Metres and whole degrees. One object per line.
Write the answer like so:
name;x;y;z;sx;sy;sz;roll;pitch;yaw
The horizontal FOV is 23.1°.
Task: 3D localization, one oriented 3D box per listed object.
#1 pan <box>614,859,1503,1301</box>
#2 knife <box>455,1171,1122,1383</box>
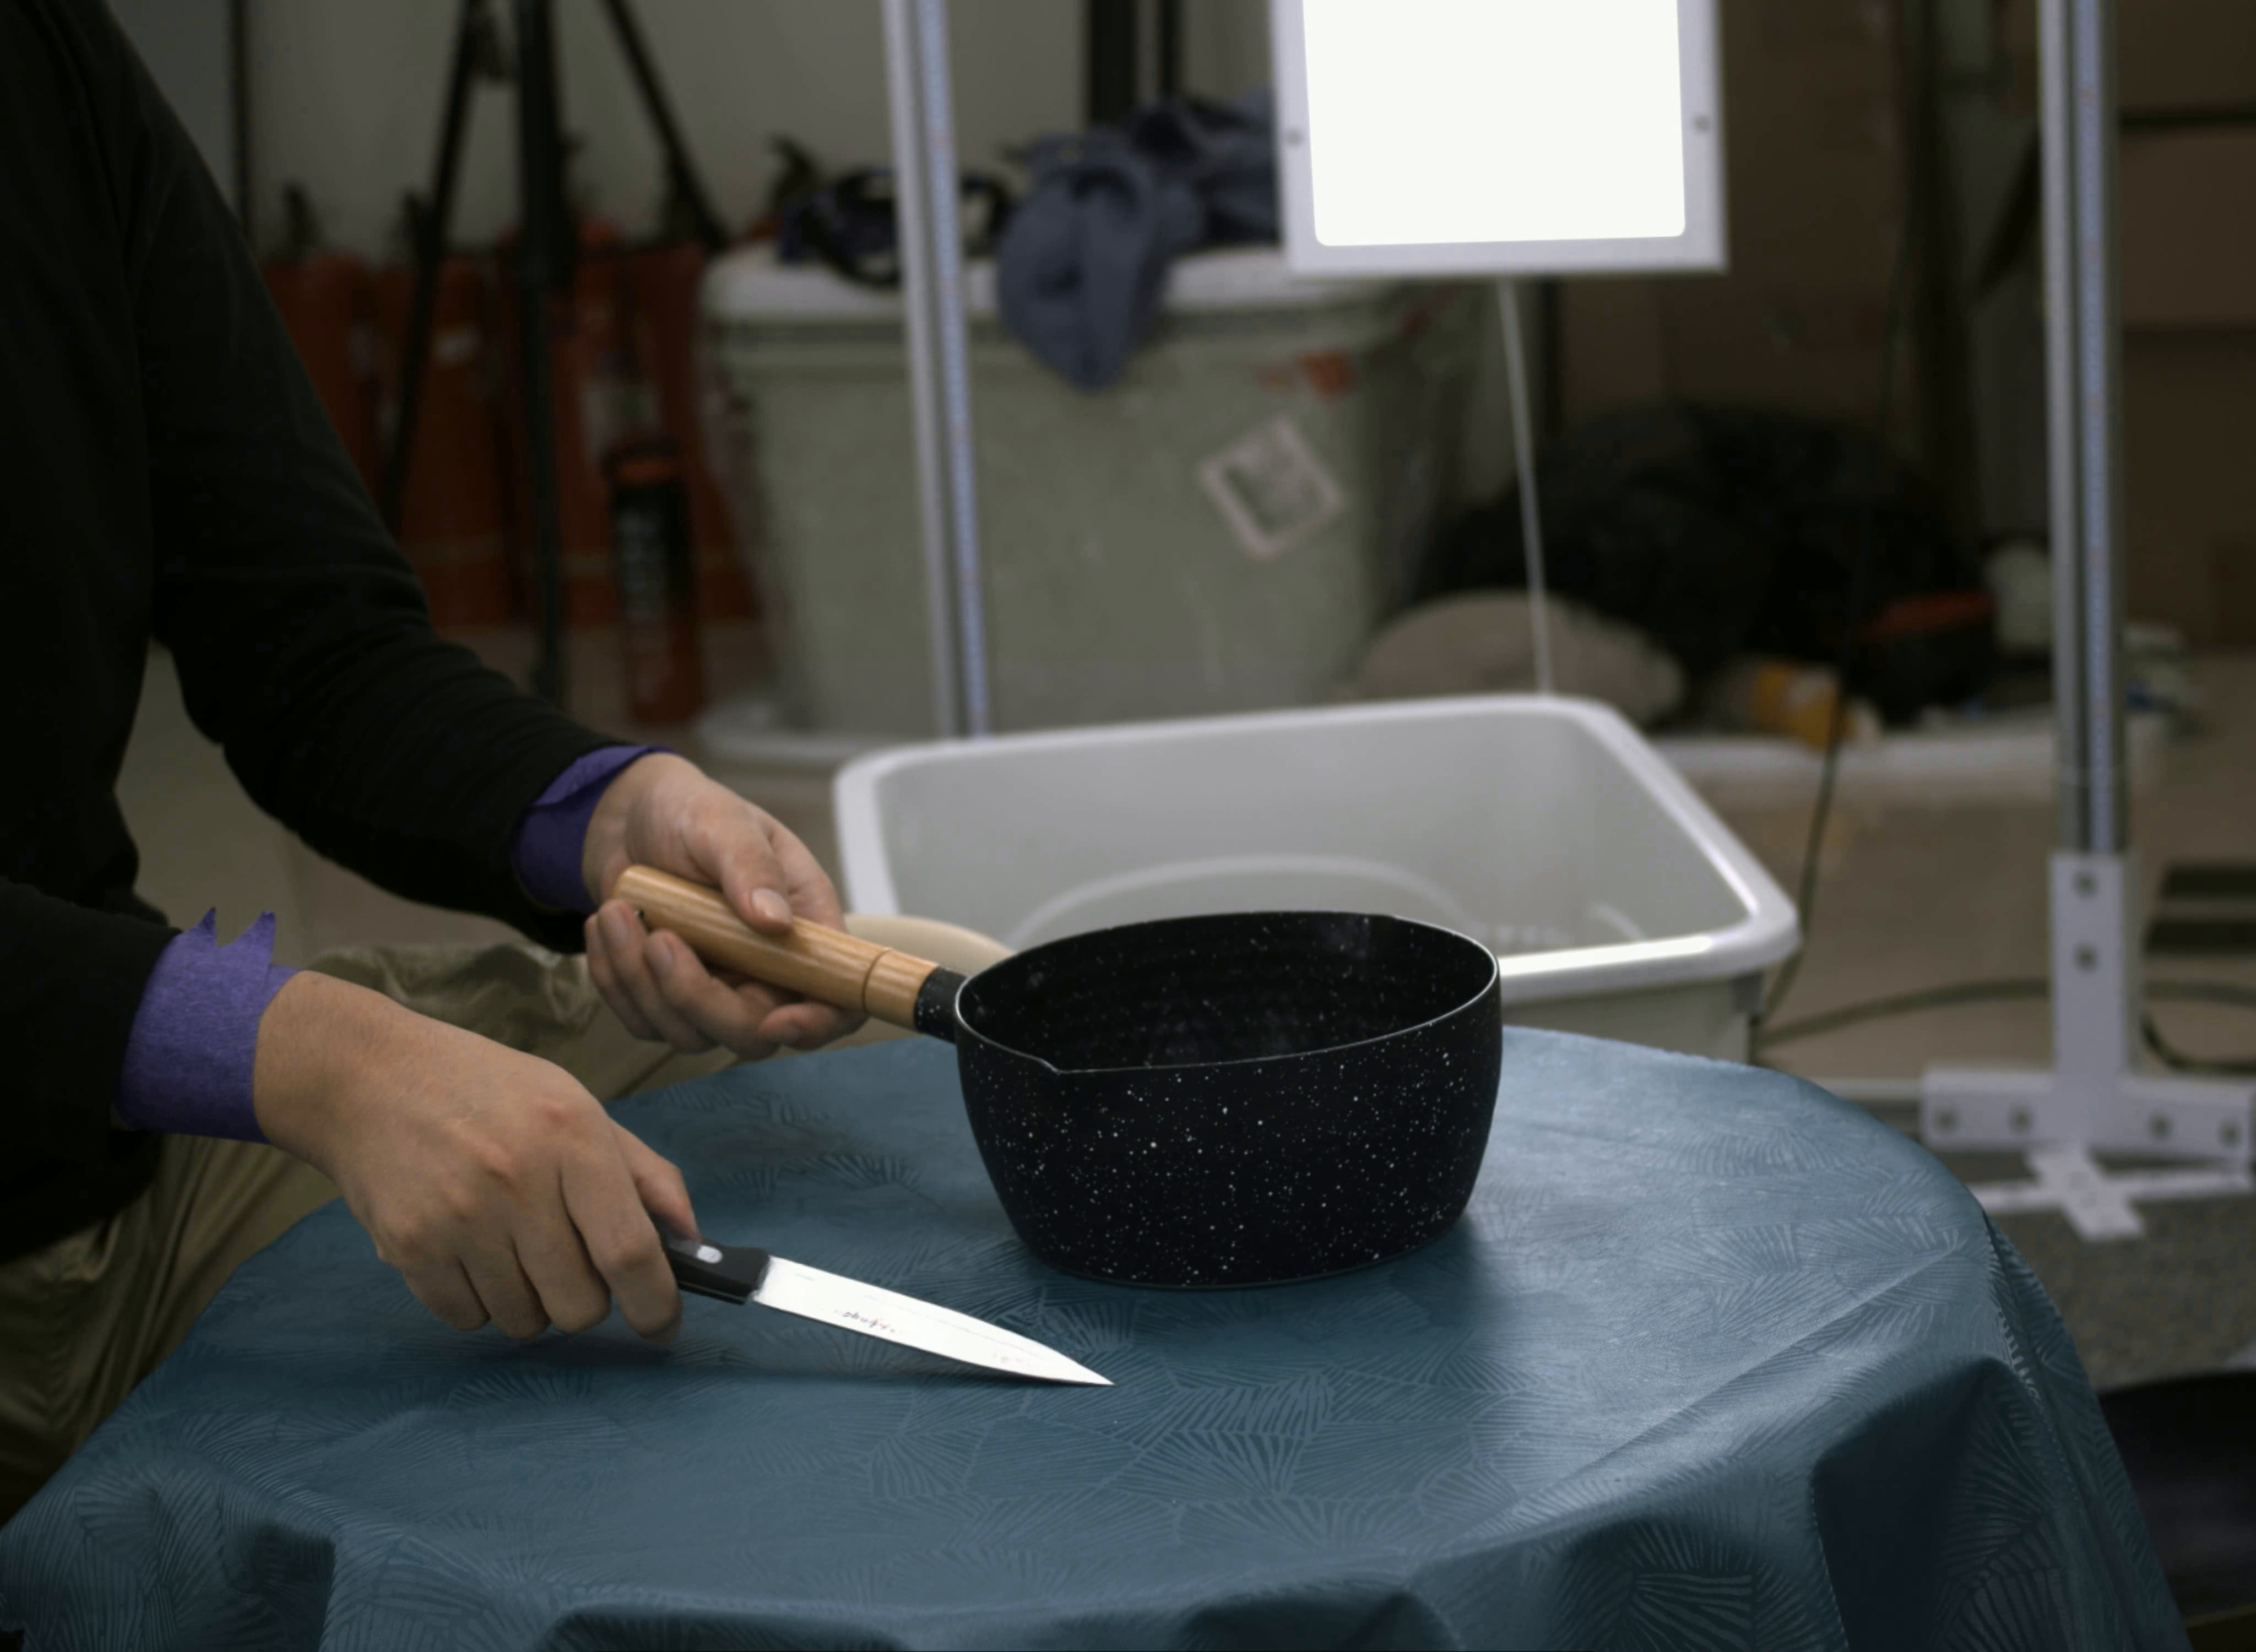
pan;-0.033;0.078;1.886;0.349;0.108;0.202;5;18;32
knife;-0.112;0.147;1.754;0.241;0.016;0.024;14;41;22
